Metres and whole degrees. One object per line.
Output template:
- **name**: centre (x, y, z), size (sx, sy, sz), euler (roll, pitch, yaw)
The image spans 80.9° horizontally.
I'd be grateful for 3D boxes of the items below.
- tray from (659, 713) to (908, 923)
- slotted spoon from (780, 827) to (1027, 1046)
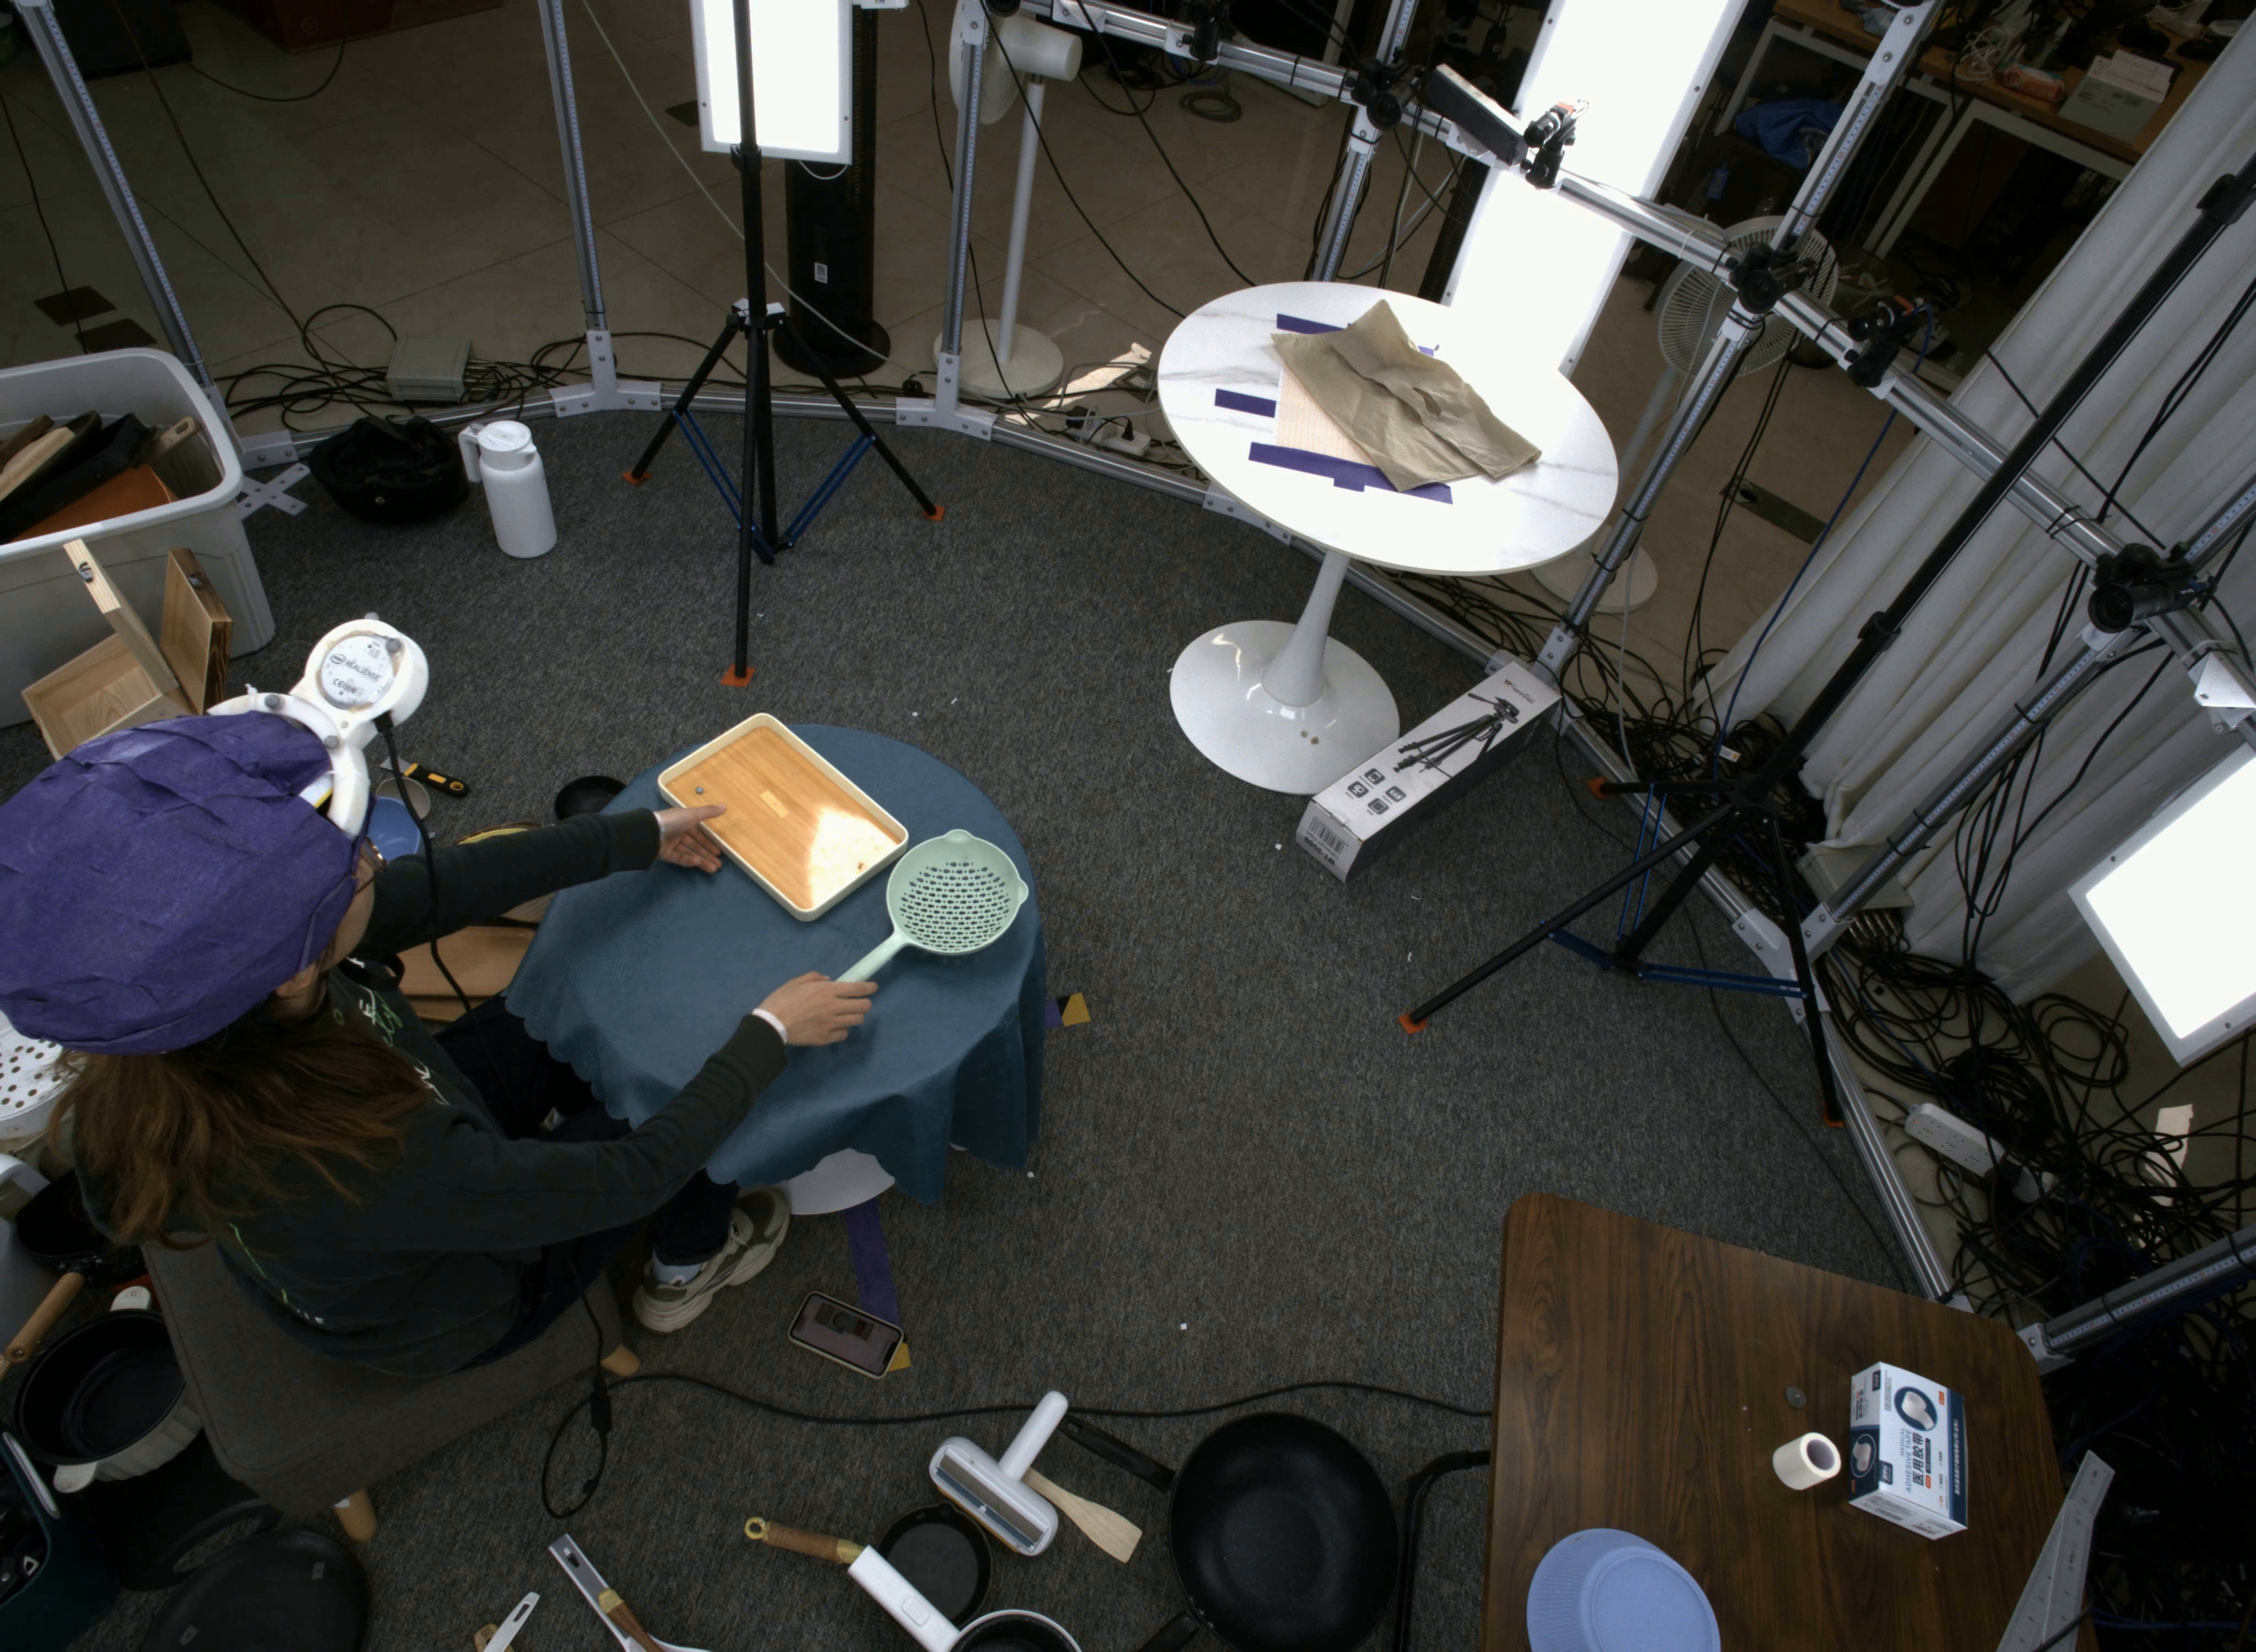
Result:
- **tray**: centre (-0.457, -0.017, 1.717), size (0.294, 0.028, 0.192), euler (38, 54, 15)
- **slotted spoon**: centre (-0.288, 0.144, 1.615), size (0.165, 0.077, 0.359), euler (41, 55, 18)
